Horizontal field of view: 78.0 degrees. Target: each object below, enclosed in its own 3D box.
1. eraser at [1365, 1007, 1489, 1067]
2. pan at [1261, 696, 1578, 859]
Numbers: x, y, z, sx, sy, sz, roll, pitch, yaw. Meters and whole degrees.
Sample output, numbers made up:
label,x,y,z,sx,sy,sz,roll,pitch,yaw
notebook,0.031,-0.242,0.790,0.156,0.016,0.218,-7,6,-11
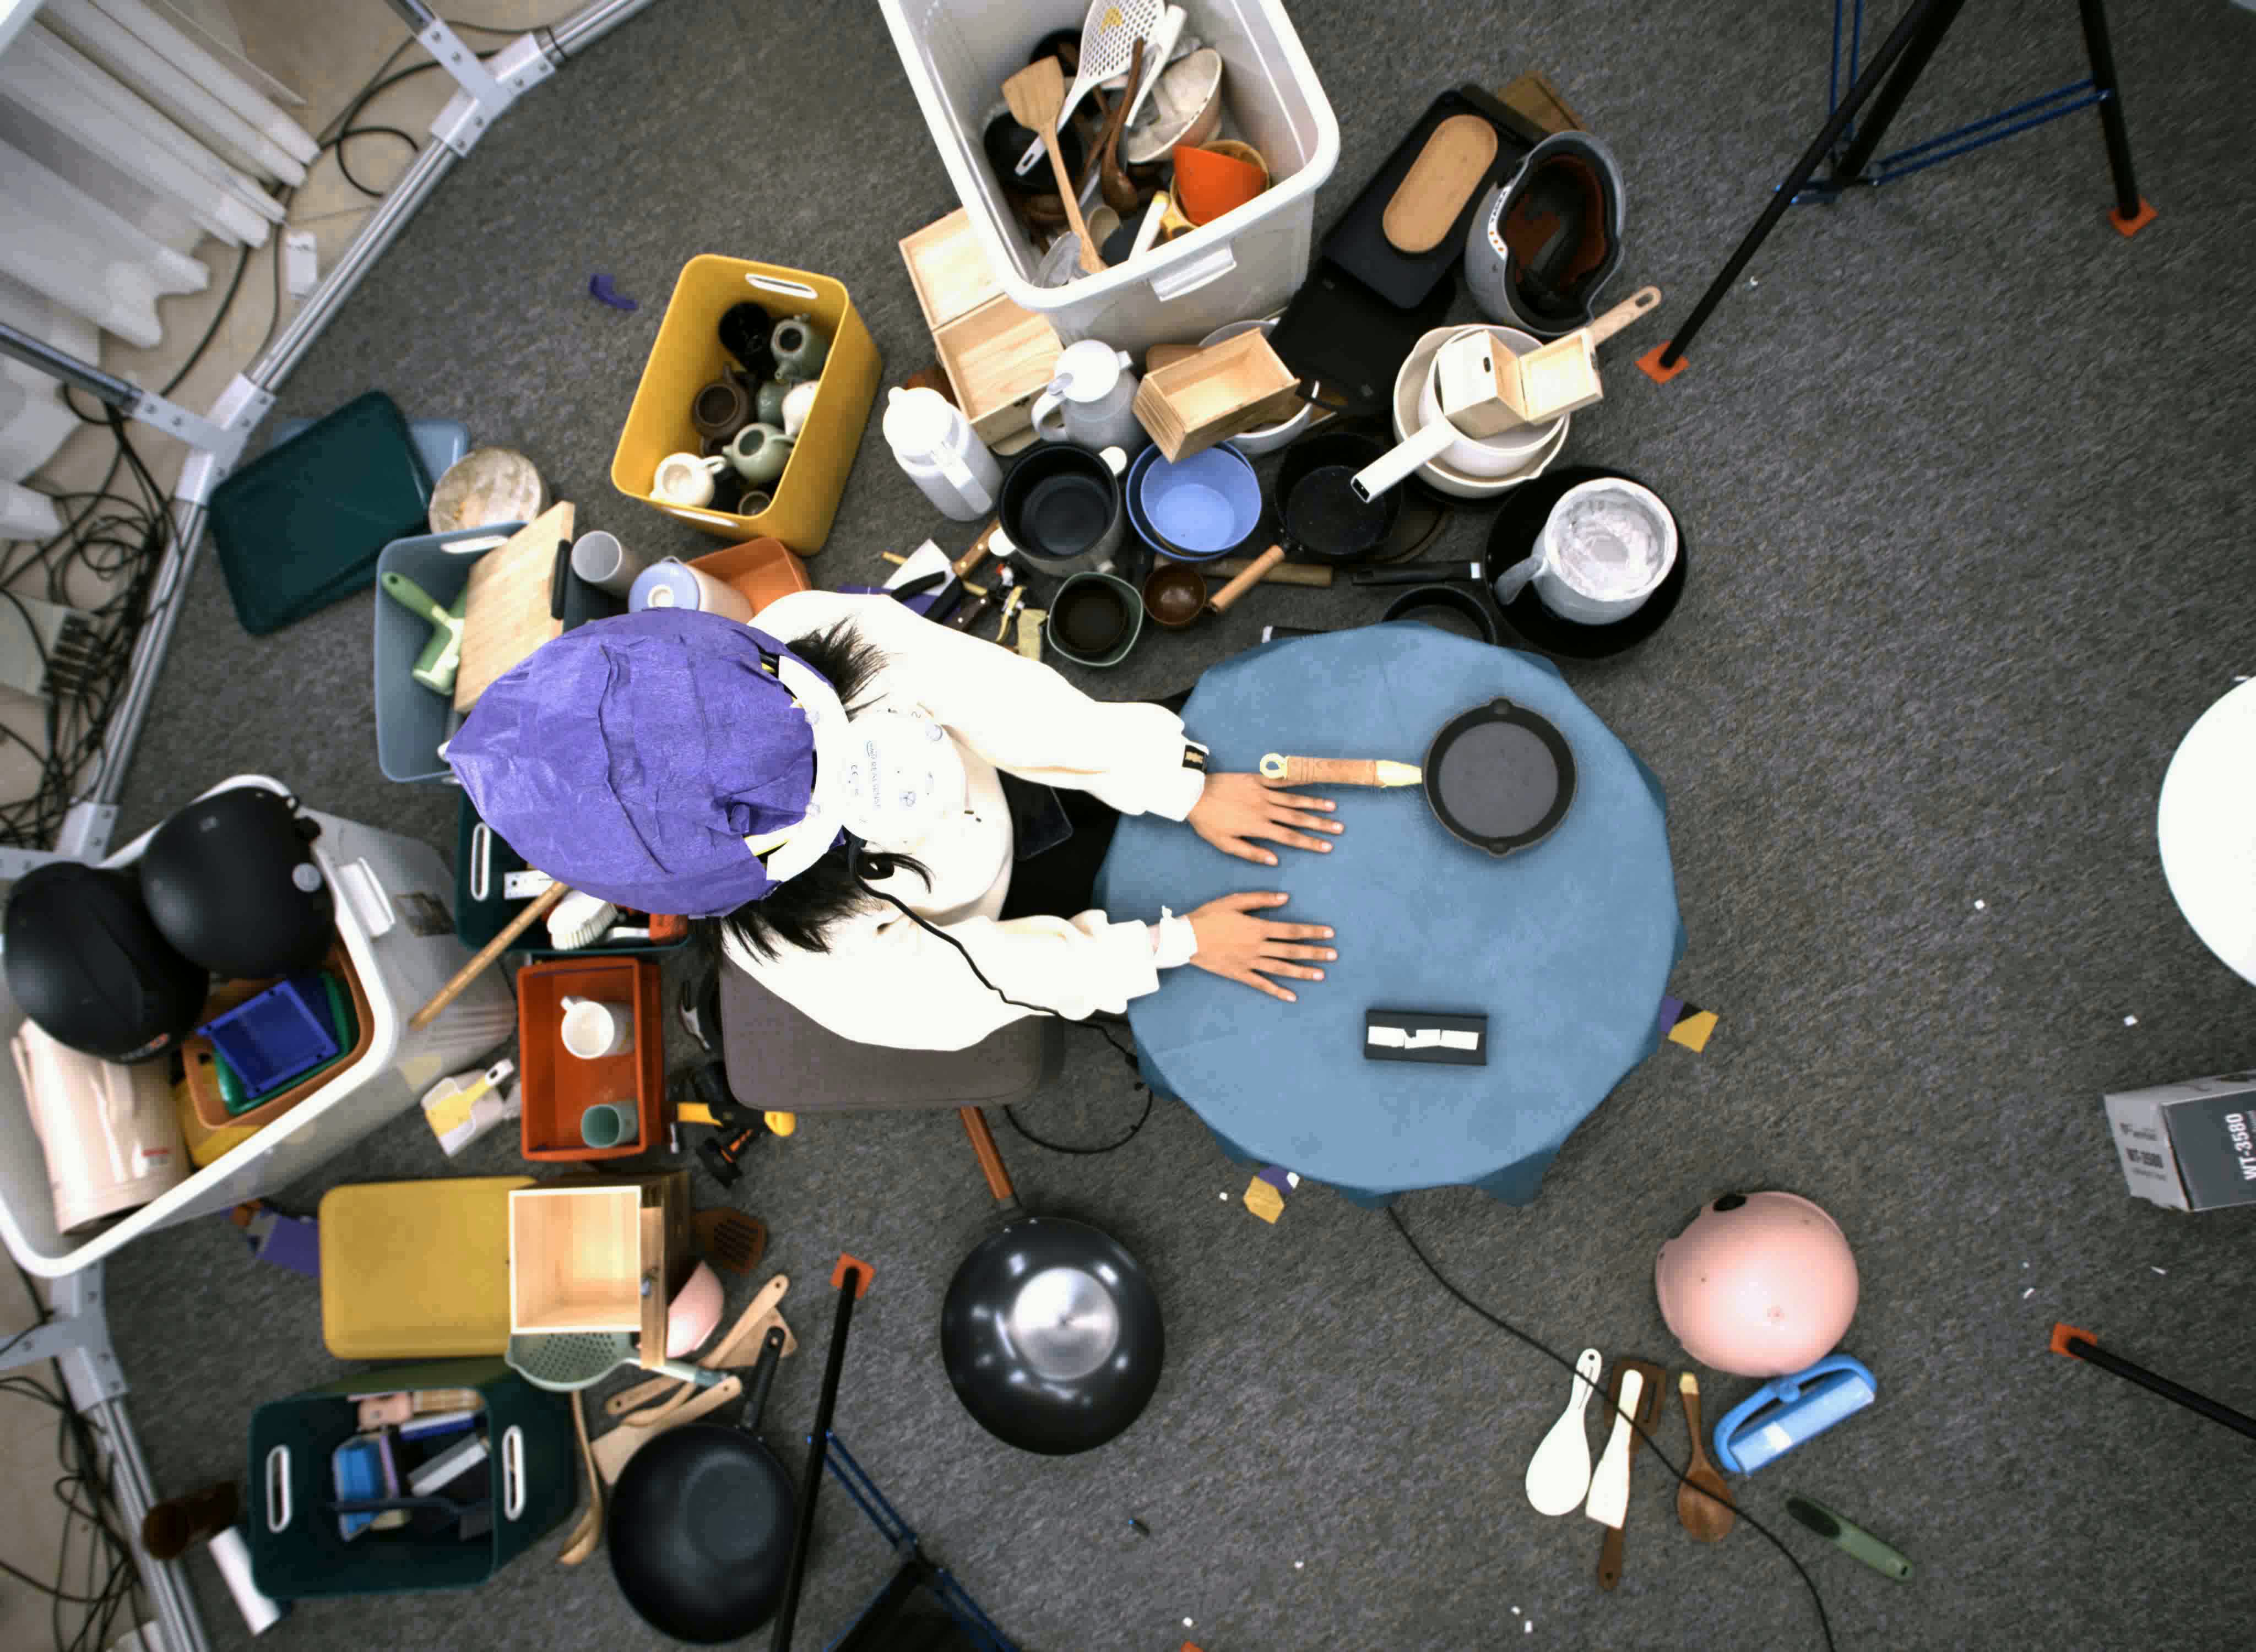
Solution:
label,x,y,z,sx,sy,sz,roll,pitch,yaw
eraser,0.310,0.216,1.431,0.126,0.030,0.053,2,86,12
pan,0.301,-0.057,1.435,0.325,0.049,0.168,4,88,10
